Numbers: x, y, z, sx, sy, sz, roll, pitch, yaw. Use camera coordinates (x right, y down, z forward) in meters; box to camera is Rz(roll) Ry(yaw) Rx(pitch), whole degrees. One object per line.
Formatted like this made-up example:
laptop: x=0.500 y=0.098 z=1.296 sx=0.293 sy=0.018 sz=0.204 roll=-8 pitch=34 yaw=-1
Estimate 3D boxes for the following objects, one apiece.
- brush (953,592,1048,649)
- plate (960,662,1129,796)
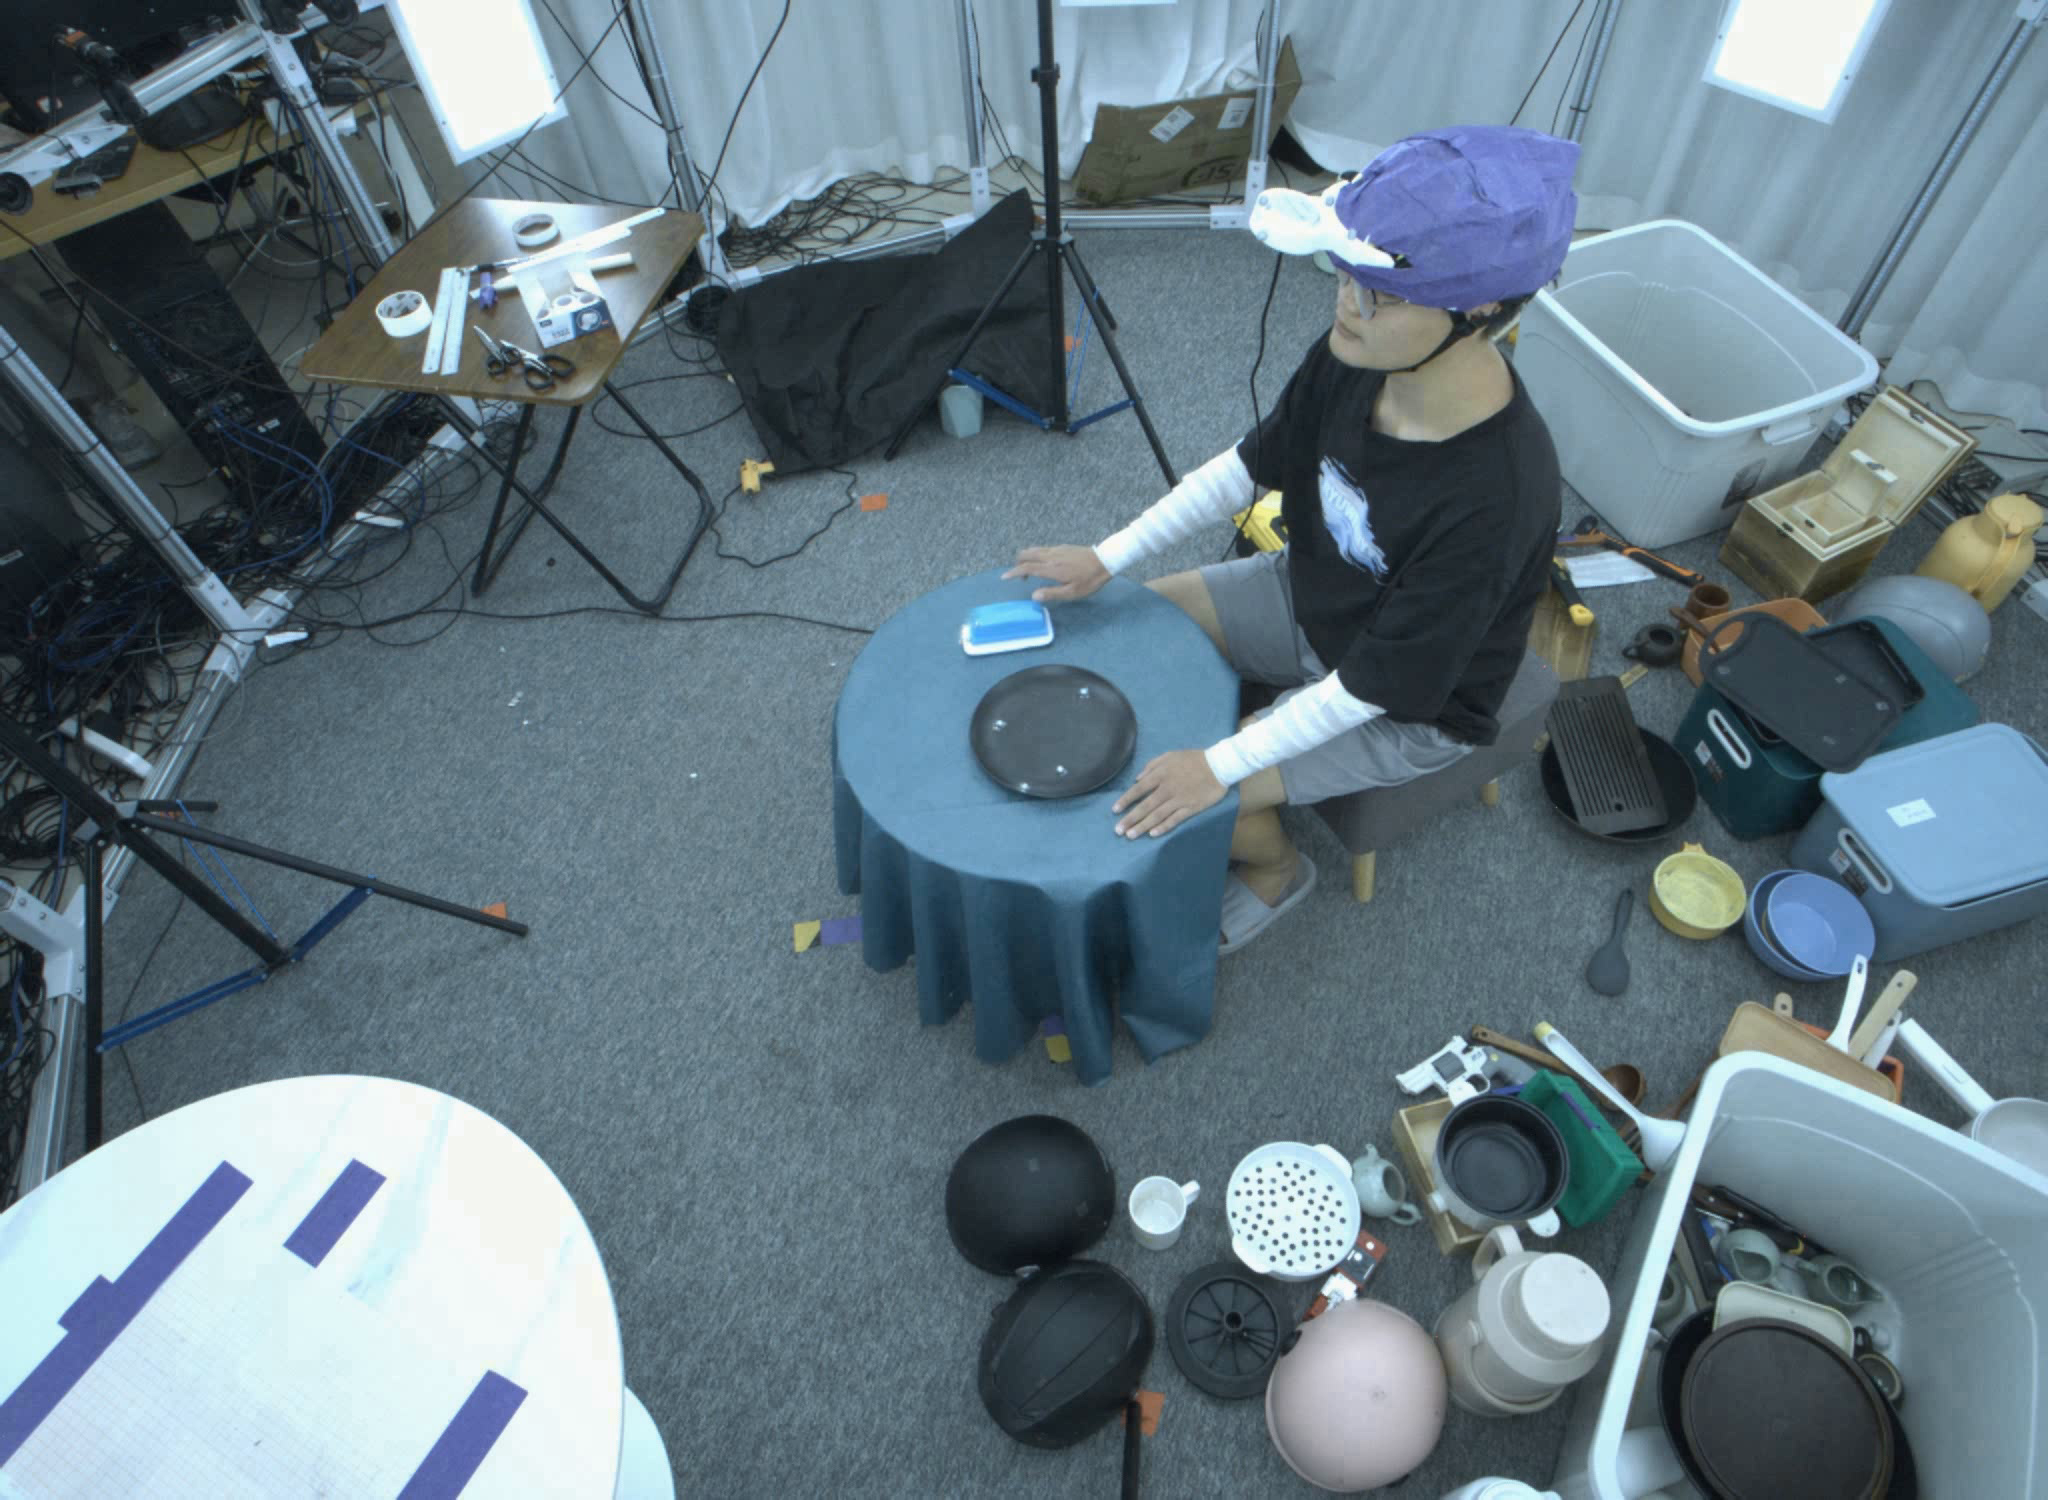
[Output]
brush: x=-0.037 y=-0.208 z=1.889 sx=0.144 sy=0.056 sz=0.083 roll=-11 pitch=59 yaw=-2
plate: x=0.030 y=-0.029 z=1.783 sx=0.244 sy=0.024 sz=0.242 roll=-1 pitch=54 yaw=2
